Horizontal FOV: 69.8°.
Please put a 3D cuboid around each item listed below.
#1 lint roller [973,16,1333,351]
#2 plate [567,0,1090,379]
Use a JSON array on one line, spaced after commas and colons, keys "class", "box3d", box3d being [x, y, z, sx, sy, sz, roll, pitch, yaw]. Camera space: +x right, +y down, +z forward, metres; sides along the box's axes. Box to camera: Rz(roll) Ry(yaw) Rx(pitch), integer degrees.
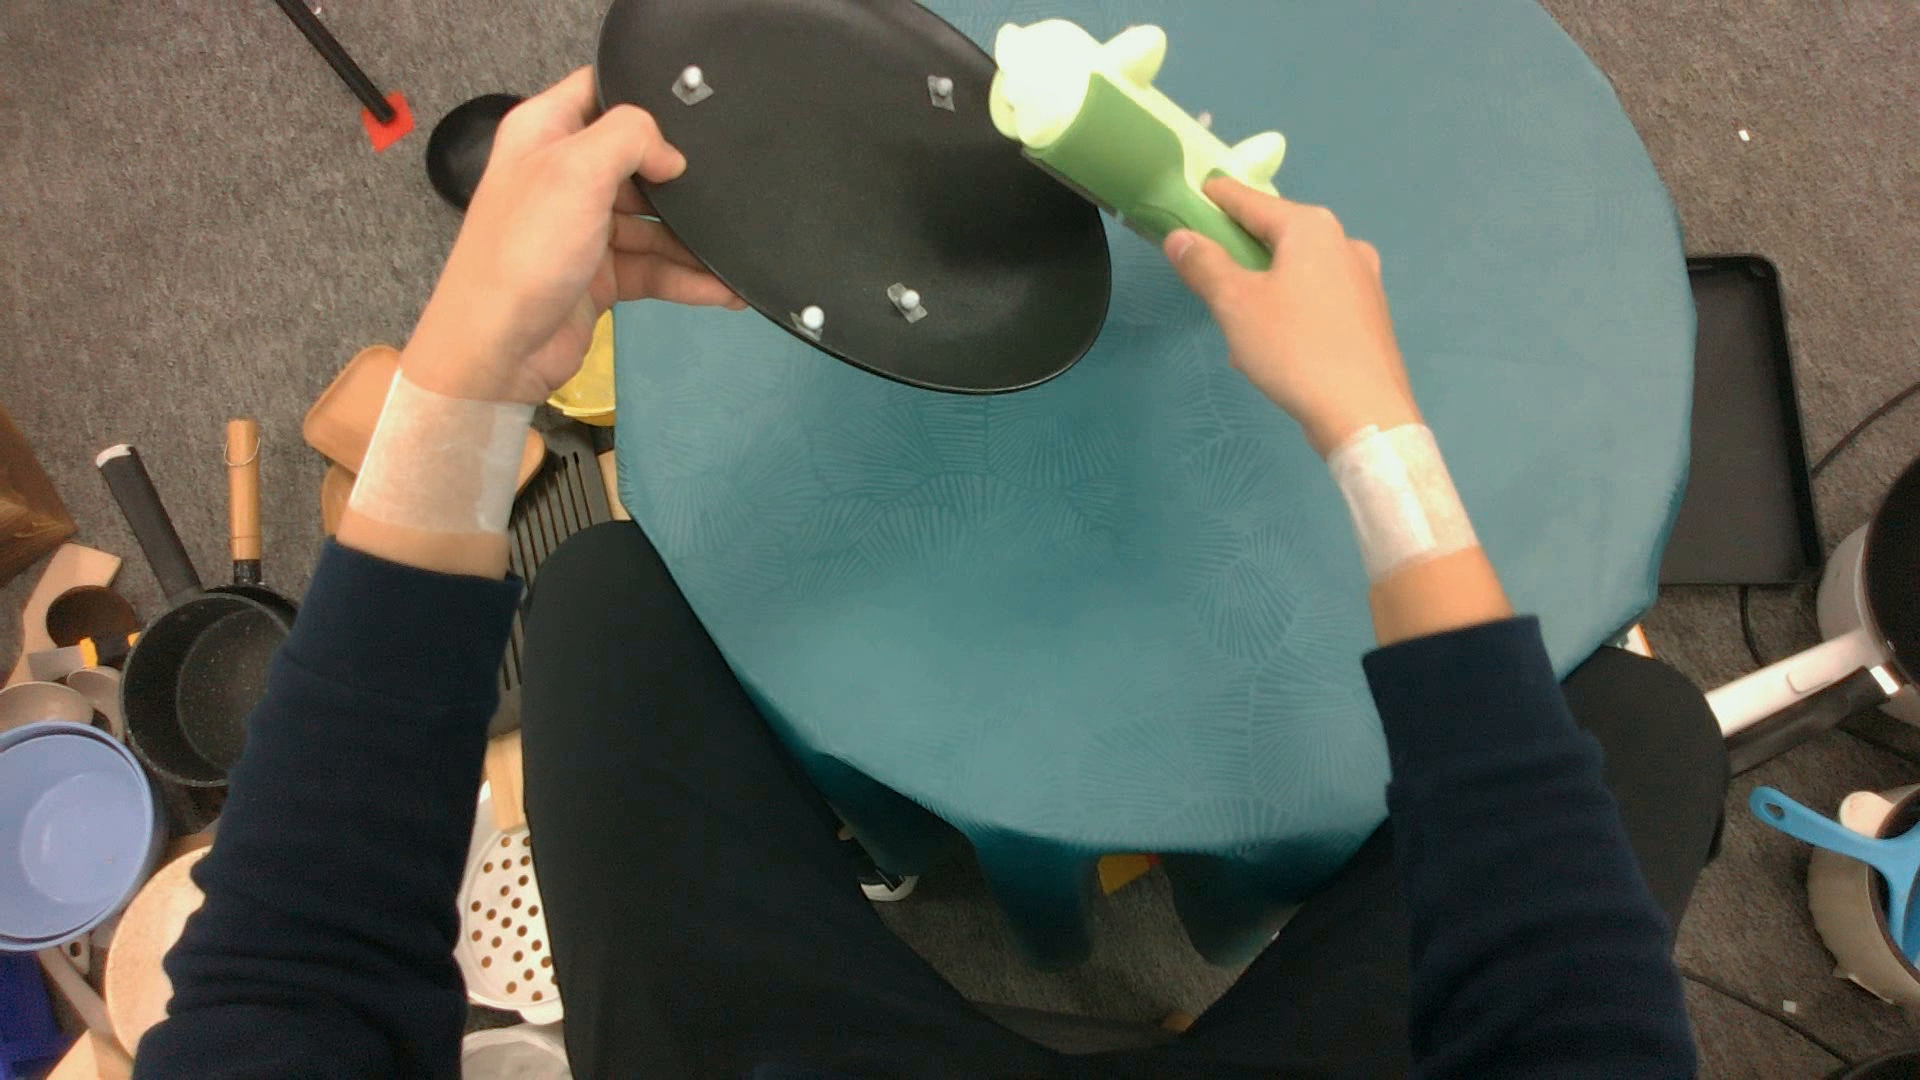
[{"class": "lint roller", "box3d": [0.118, -0.162, 0.632, 0.183, 0.199, 0.082, 43, 109, 35]}, {"class": "plate", "box3d": [-0.051, -0.163, 0.595, 0.244, 0.023, 0.245, 19, 50, -23]}]
